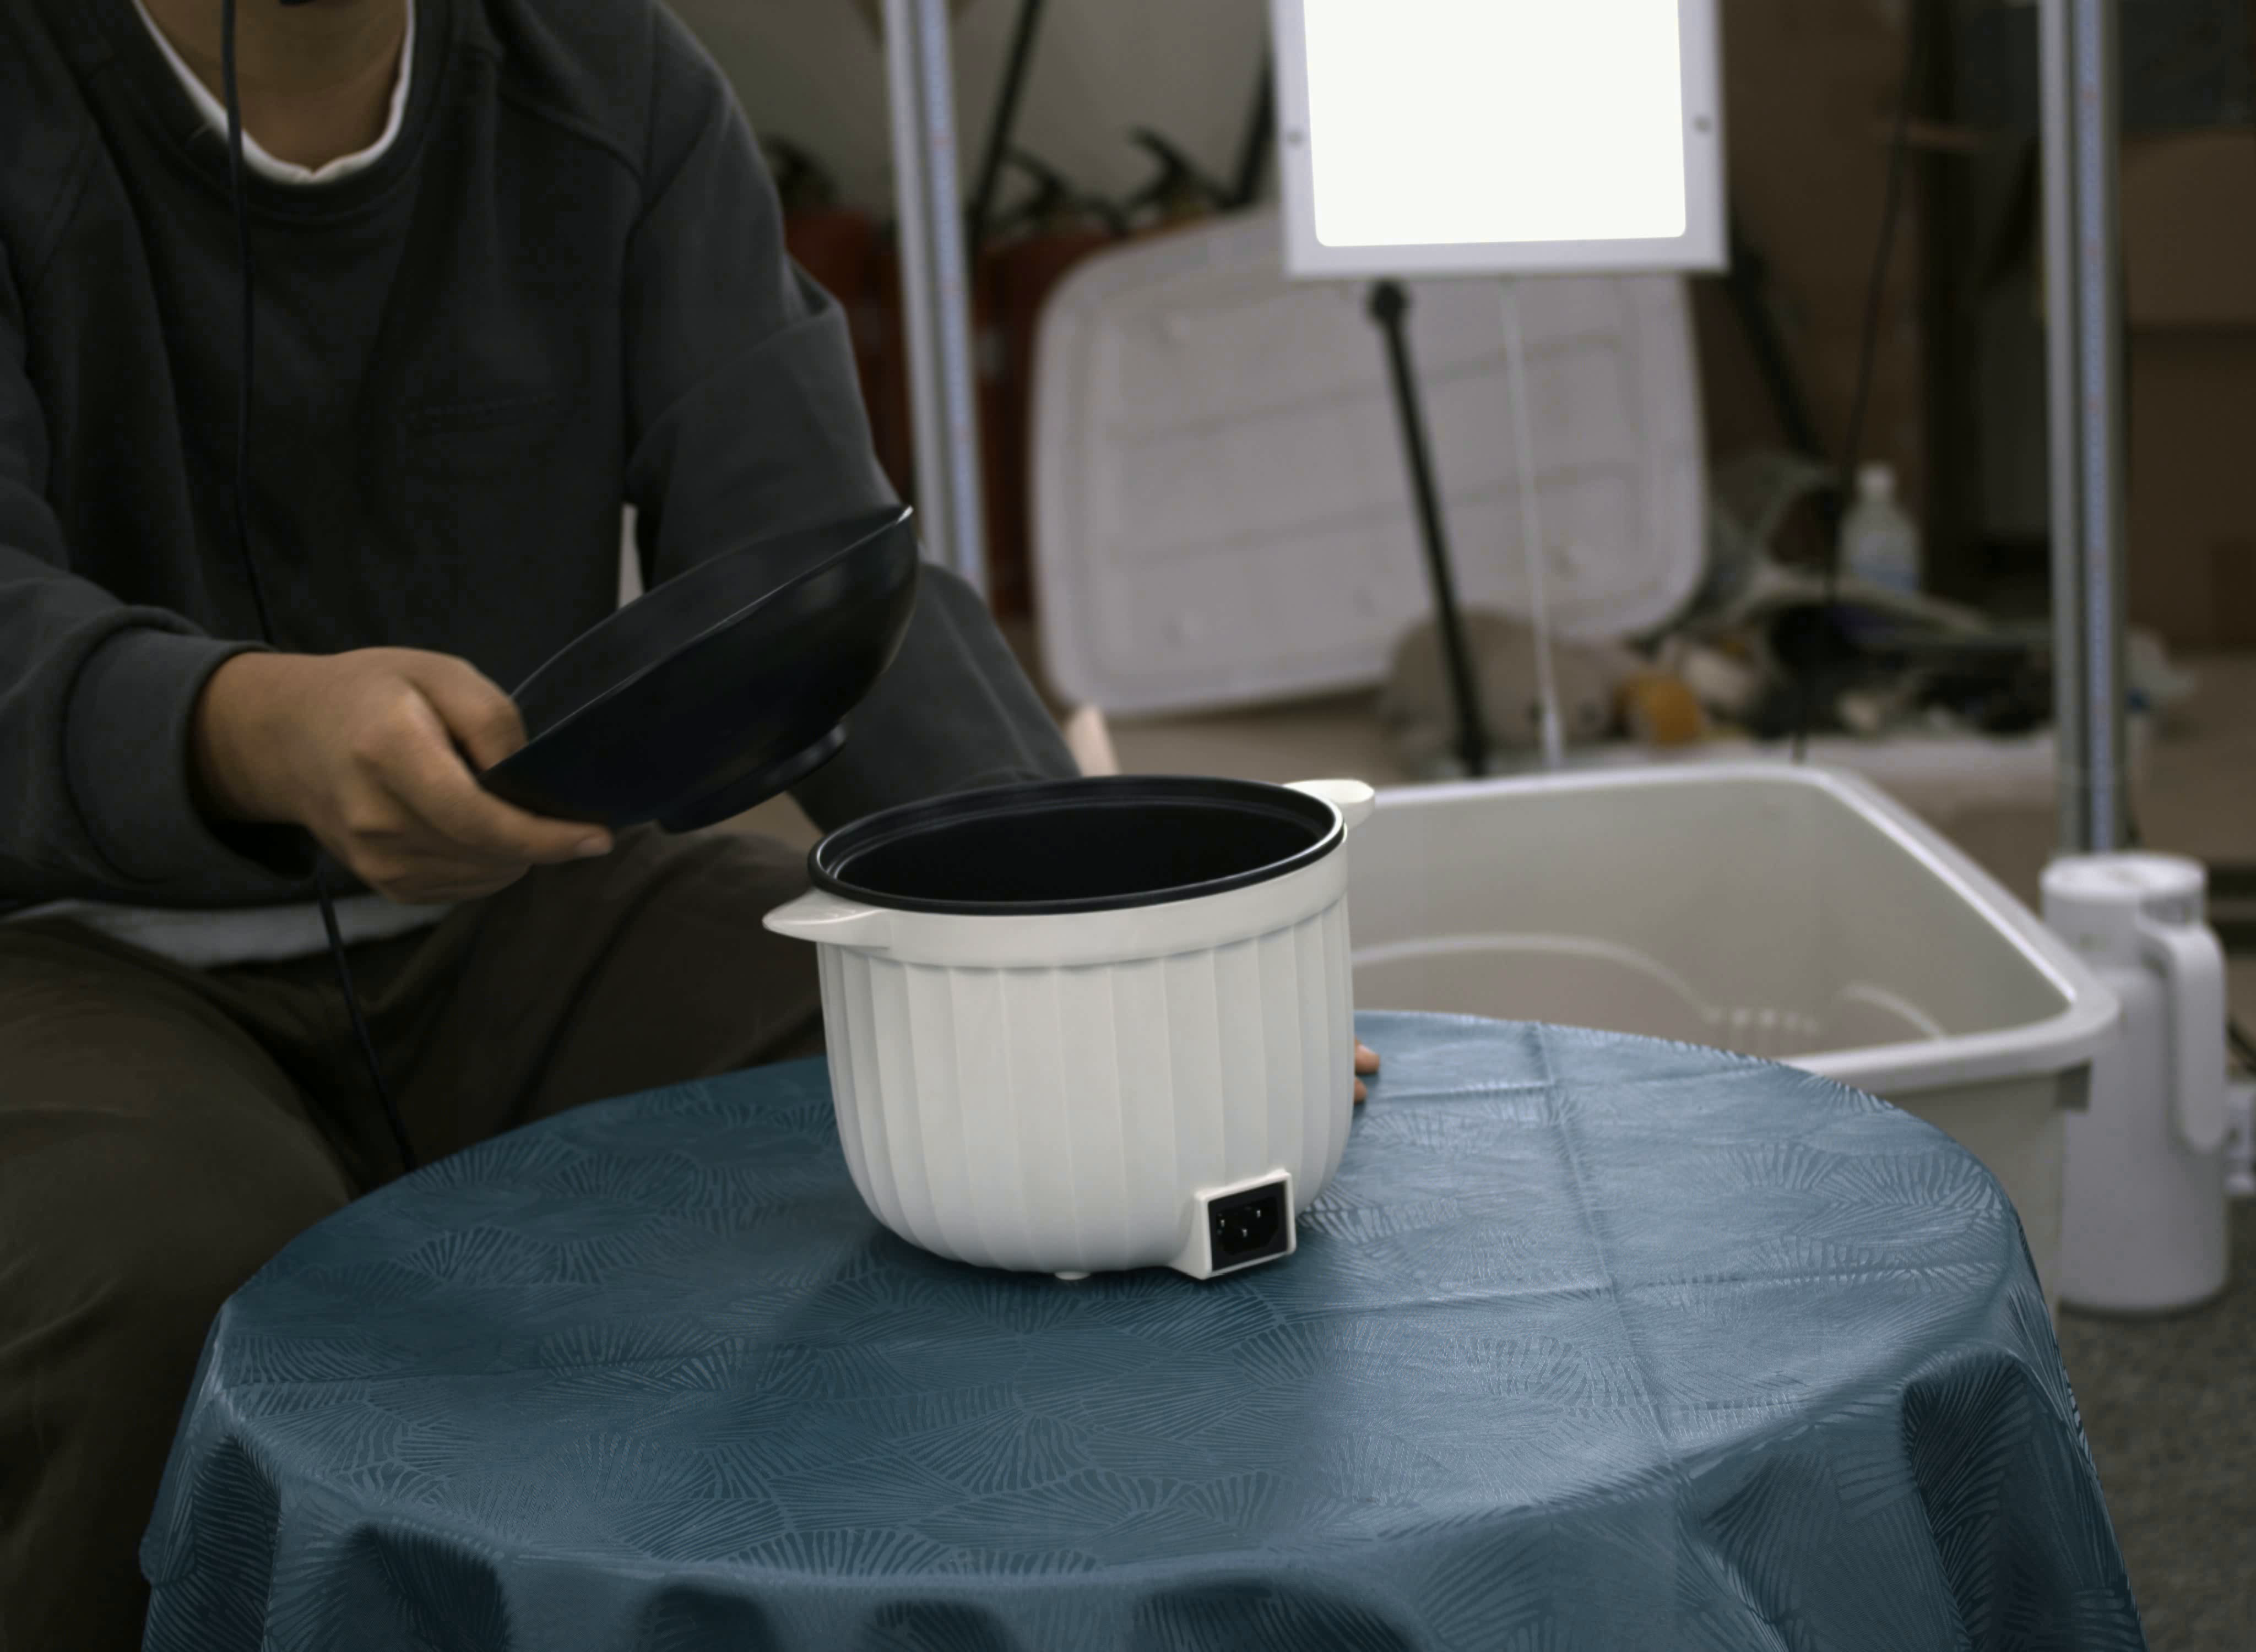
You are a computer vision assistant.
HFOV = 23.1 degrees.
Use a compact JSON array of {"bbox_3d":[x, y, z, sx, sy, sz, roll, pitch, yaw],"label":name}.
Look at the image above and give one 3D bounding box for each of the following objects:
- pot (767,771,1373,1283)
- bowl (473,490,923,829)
[{"bbox_3d":[-0.016,0.067,1.855,0.234,0.143,0.194,-12,18,-32],"label":"pot"},{"bbox_3d":[-0.131,-0.044,1.793,0.168,0.066,0.139,-32,13,-12],"label":"bowl"}]
